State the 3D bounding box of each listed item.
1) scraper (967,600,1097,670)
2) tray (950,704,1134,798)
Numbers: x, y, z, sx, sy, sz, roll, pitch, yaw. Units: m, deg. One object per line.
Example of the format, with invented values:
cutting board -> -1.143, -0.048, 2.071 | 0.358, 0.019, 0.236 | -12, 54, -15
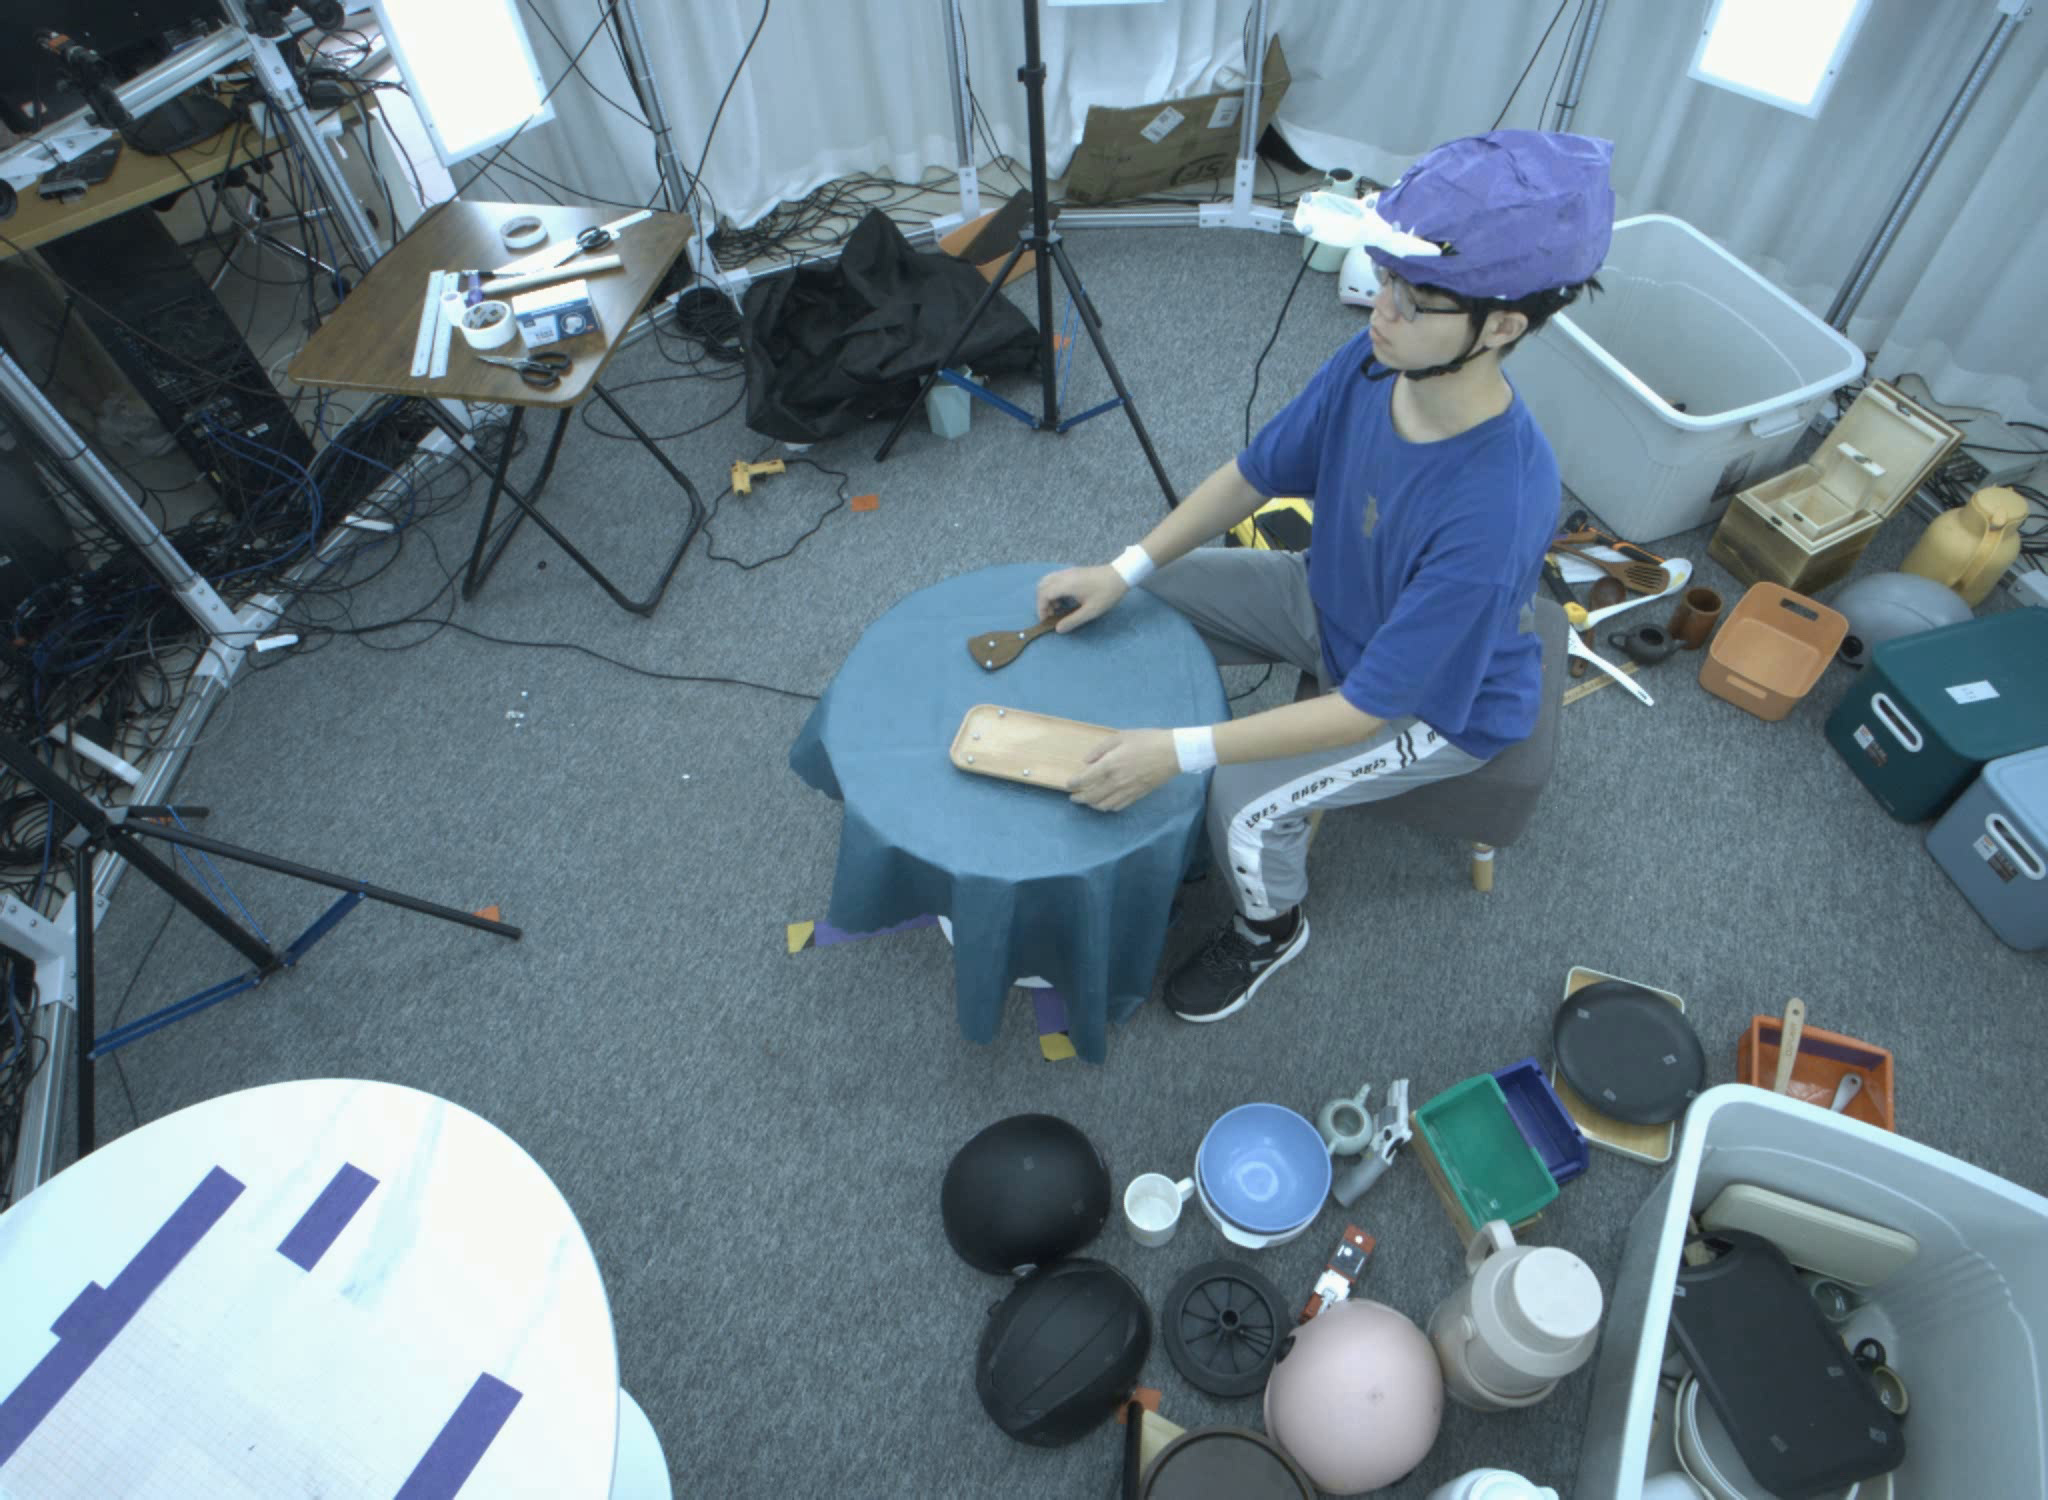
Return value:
scraper -> 0.017, -0.185, 1.903 | 0.213, 0.011, 0.074 | -25, 59, -14
tray -> 0.026, 0.001, 1.757 | 0.248, 0.023, 0.130 | 13, 53, 12
